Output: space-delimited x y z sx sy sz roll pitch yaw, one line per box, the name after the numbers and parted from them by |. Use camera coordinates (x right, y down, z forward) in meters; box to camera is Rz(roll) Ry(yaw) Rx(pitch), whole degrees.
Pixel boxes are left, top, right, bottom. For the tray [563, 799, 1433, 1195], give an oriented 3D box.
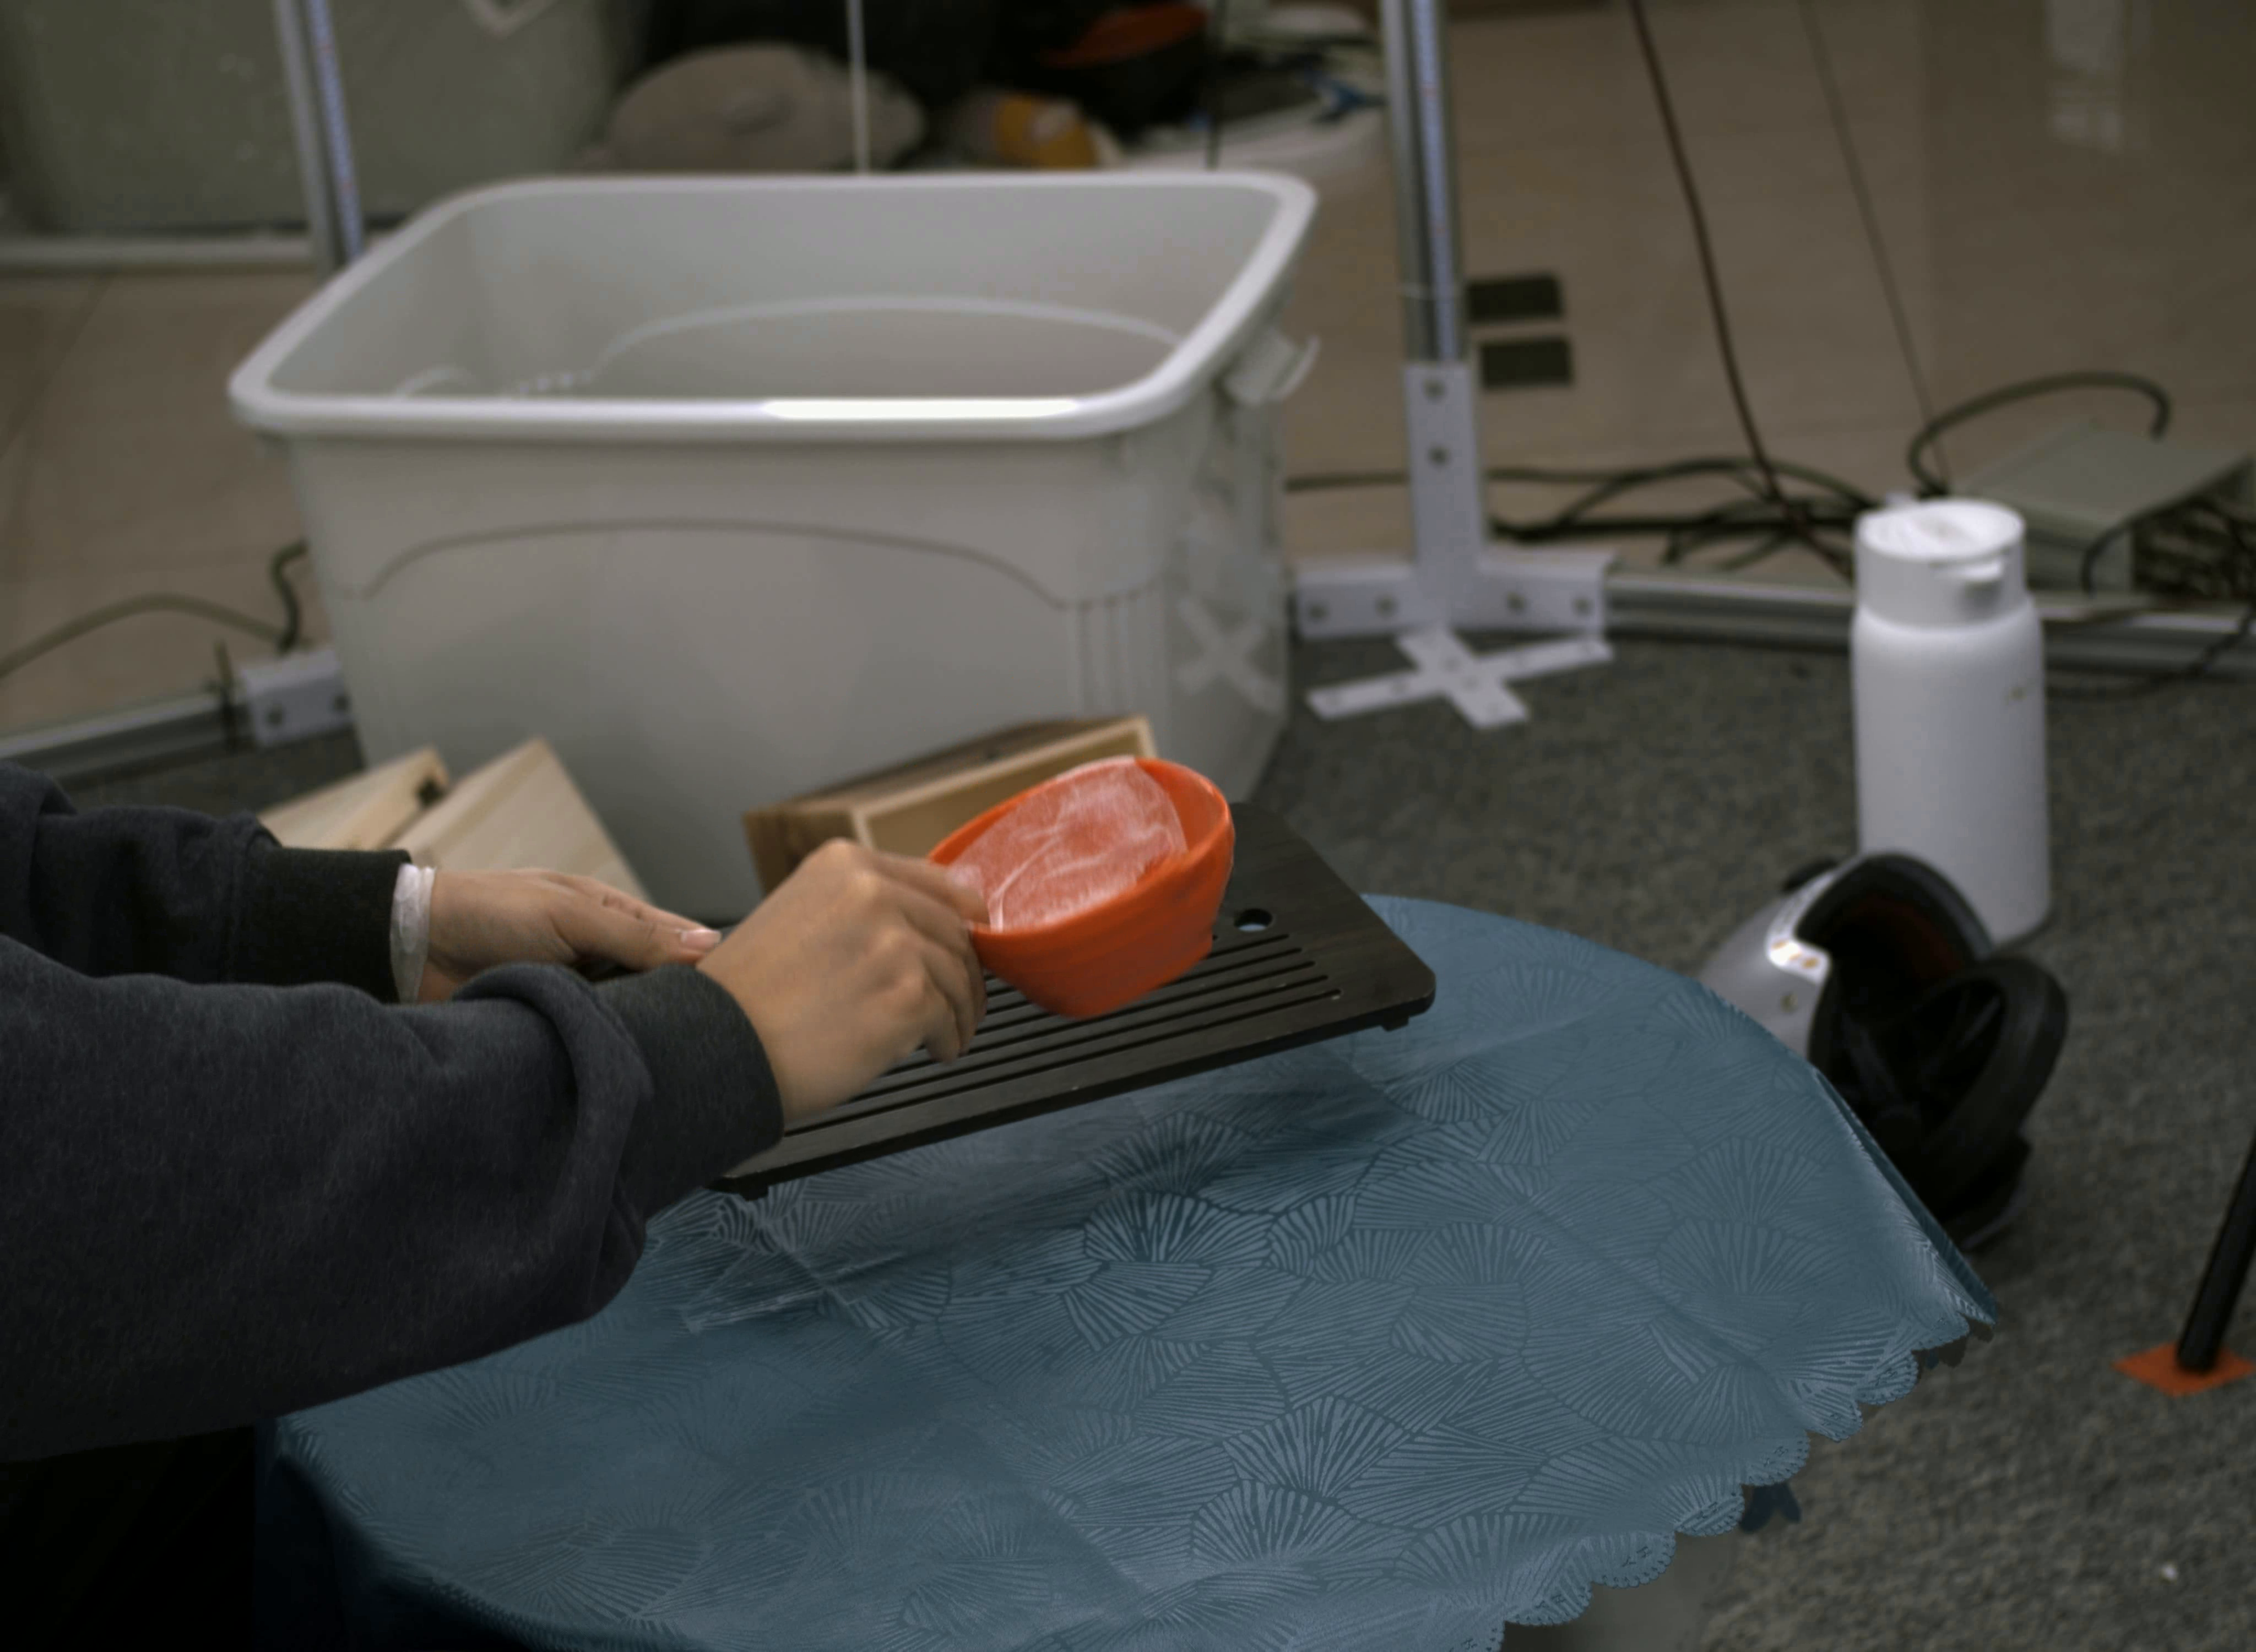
-0.051 0.065 2.183 0.305 0.019 0.167 -14 33 -20 | tray

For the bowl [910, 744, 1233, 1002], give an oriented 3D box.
-0.014 0.021 1.999 0.119 0.052 0.117 -15 26 7 | bowl
